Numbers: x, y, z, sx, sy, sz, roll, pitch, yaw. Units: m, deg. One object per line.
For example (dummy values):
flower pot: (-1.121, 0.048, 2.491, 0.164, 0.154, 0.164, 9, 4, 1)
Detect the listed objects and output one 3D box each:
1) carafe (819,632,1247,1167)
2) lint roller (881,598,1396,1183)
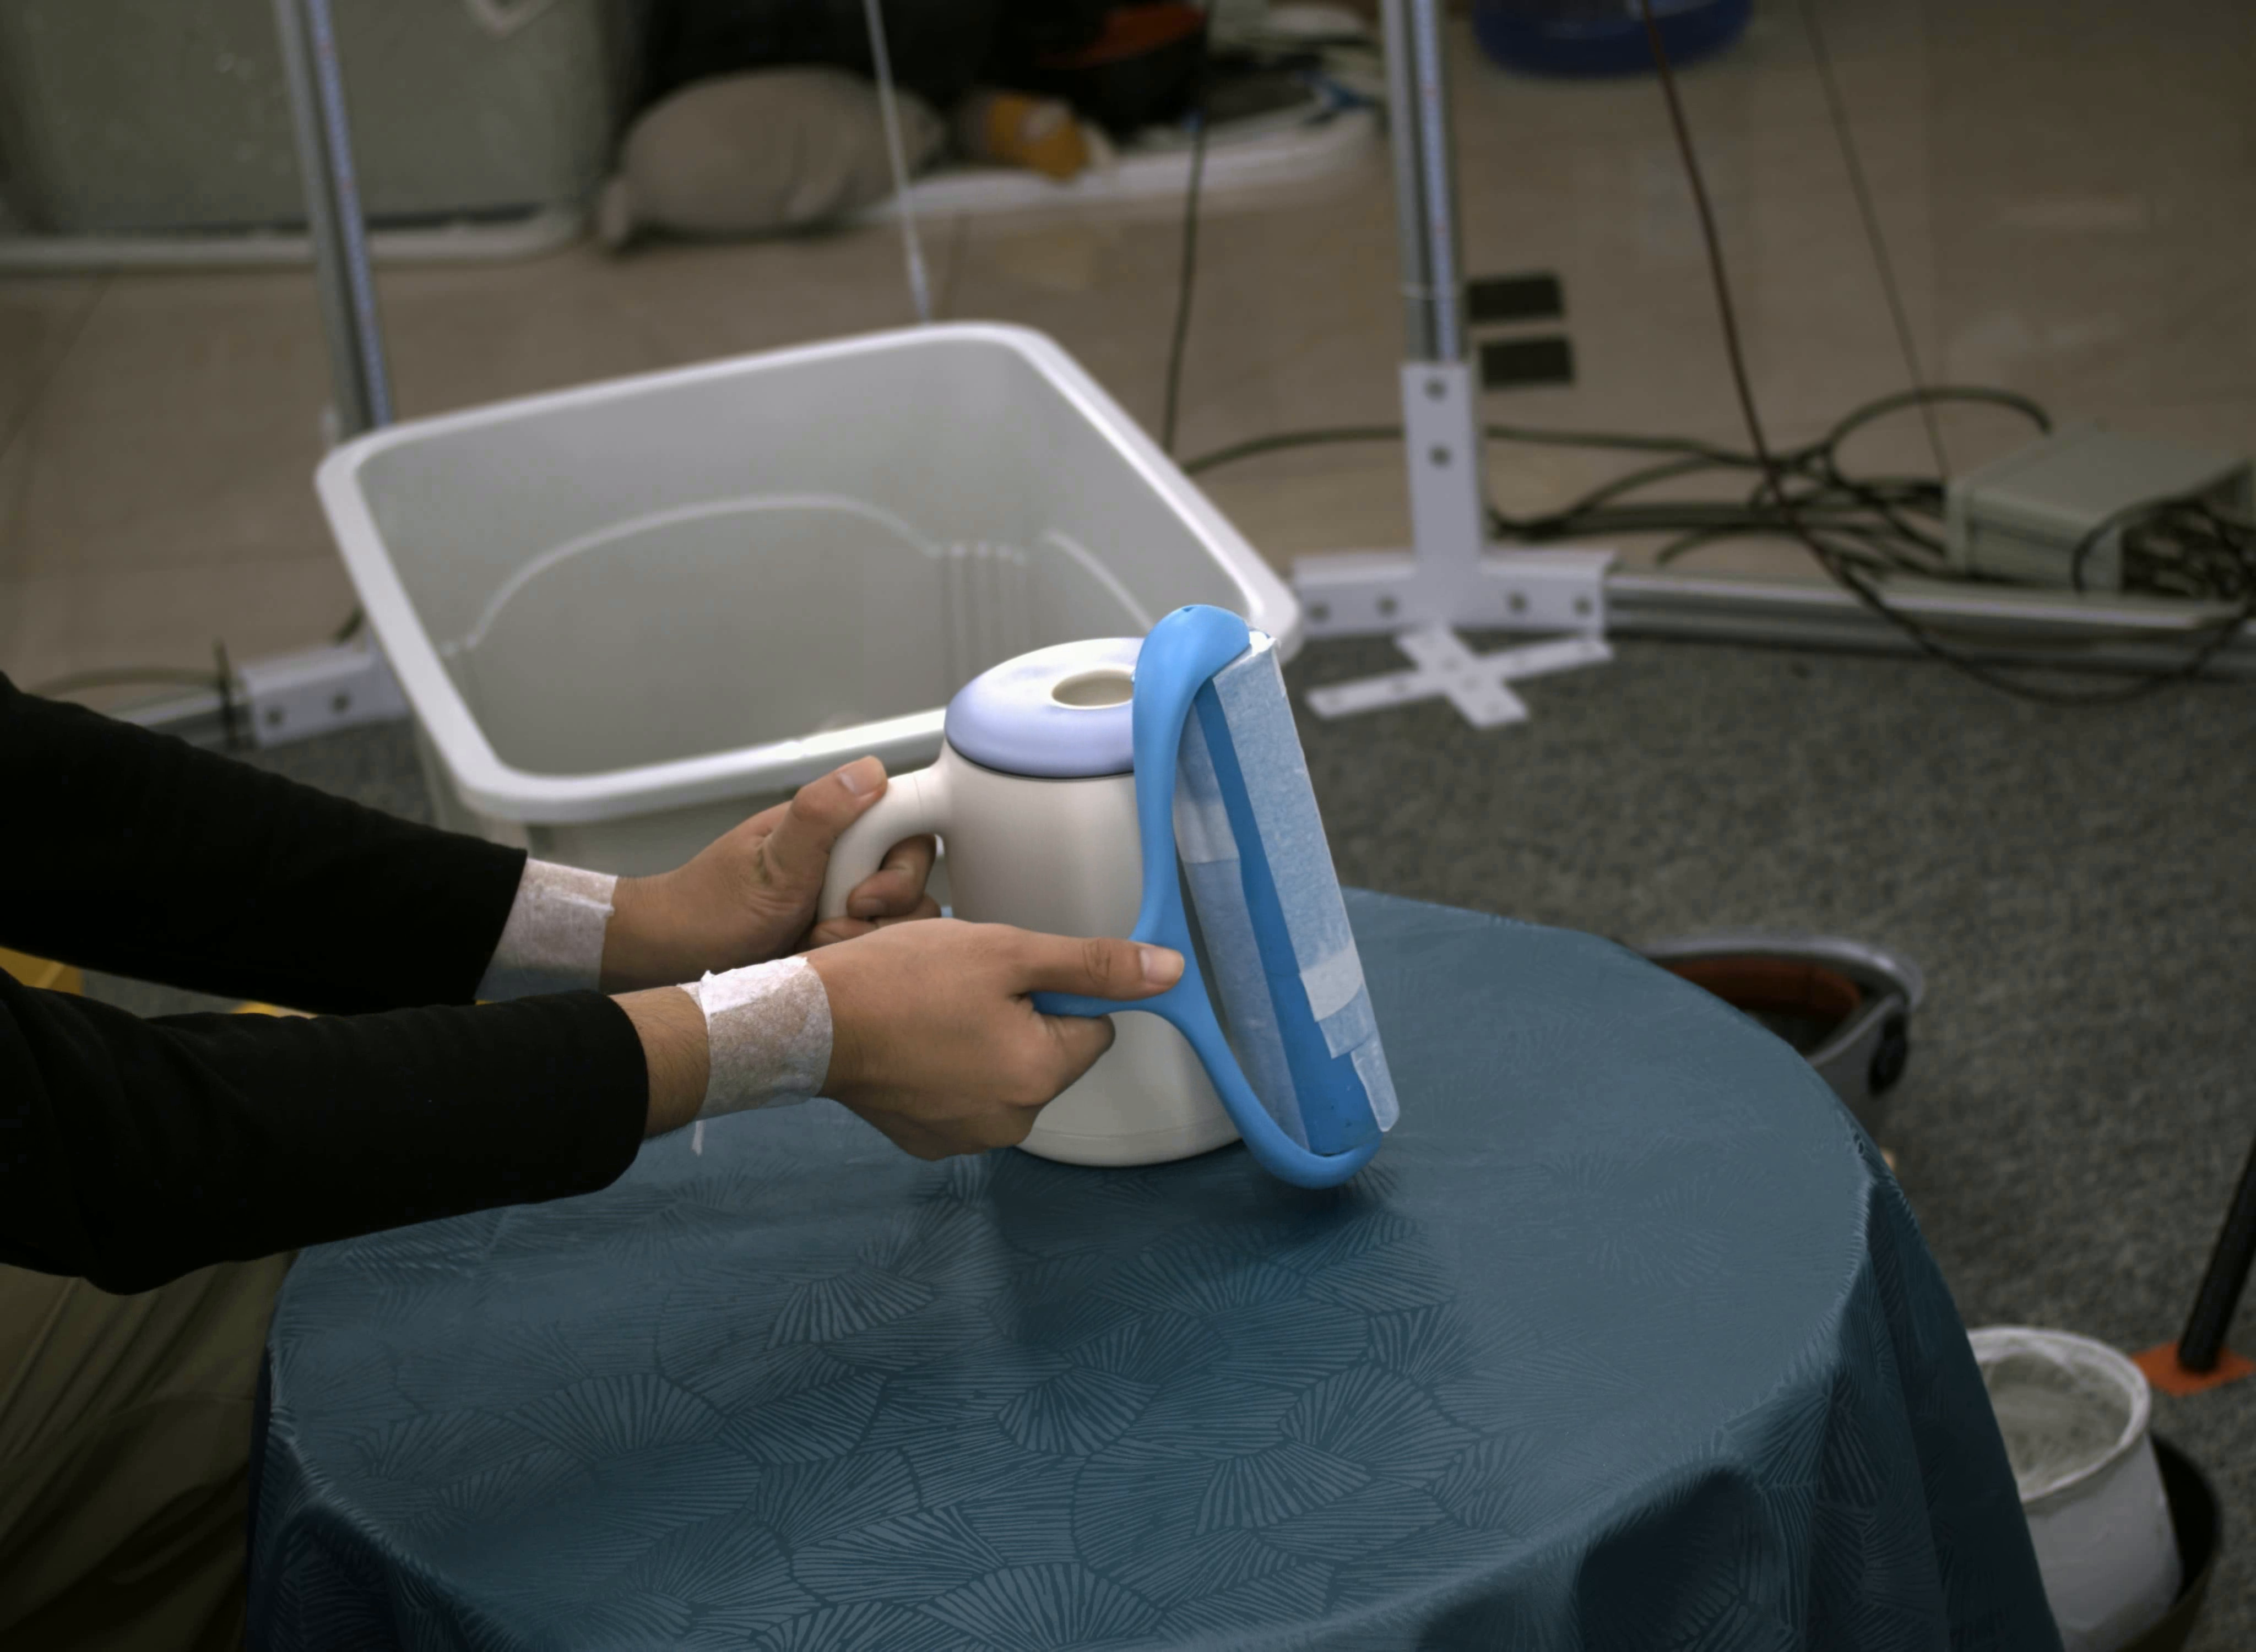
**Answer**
carafe: (-0.026, 0.033, 2.175, 0.190, 0.185, 0.130, -14, 26, -9)
lint roller: (0.001, 0.048, 2.074, 0.179, 0.232, 0.067, -26, 24, -21)
